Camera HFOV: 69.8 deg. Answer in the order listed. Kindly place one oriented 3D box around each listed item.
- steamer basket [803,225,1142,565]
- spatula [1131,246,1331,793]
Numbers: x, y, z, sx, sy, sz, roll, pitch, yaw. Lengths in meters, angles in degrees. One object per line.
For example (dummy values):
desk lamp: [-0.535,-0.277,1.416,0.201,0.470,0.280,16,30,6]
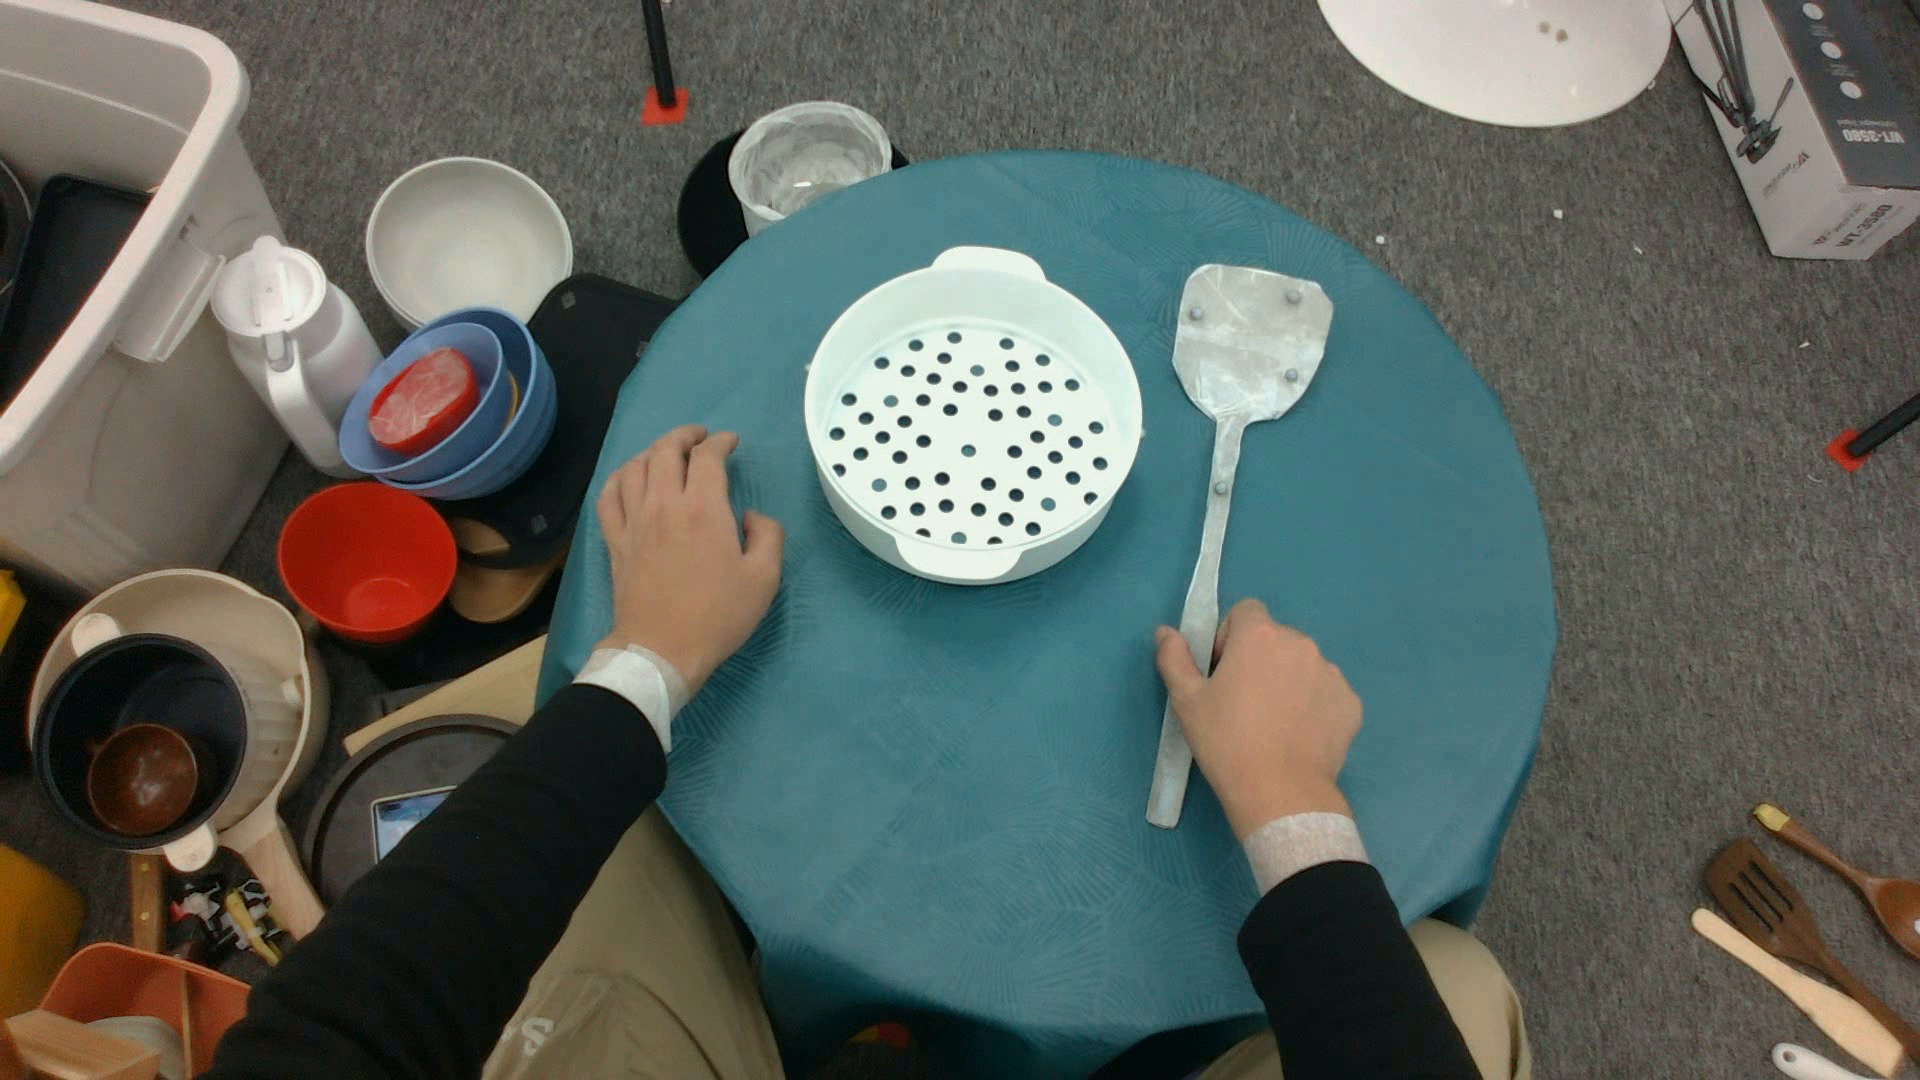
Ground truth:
steamer basket: [0.007,-0.082,0.842,0.202,0.069,0.231,7,65,0]
spatula: [0.154,-0.021,0.840,0.099,0.044,0.366,16,64,0]
